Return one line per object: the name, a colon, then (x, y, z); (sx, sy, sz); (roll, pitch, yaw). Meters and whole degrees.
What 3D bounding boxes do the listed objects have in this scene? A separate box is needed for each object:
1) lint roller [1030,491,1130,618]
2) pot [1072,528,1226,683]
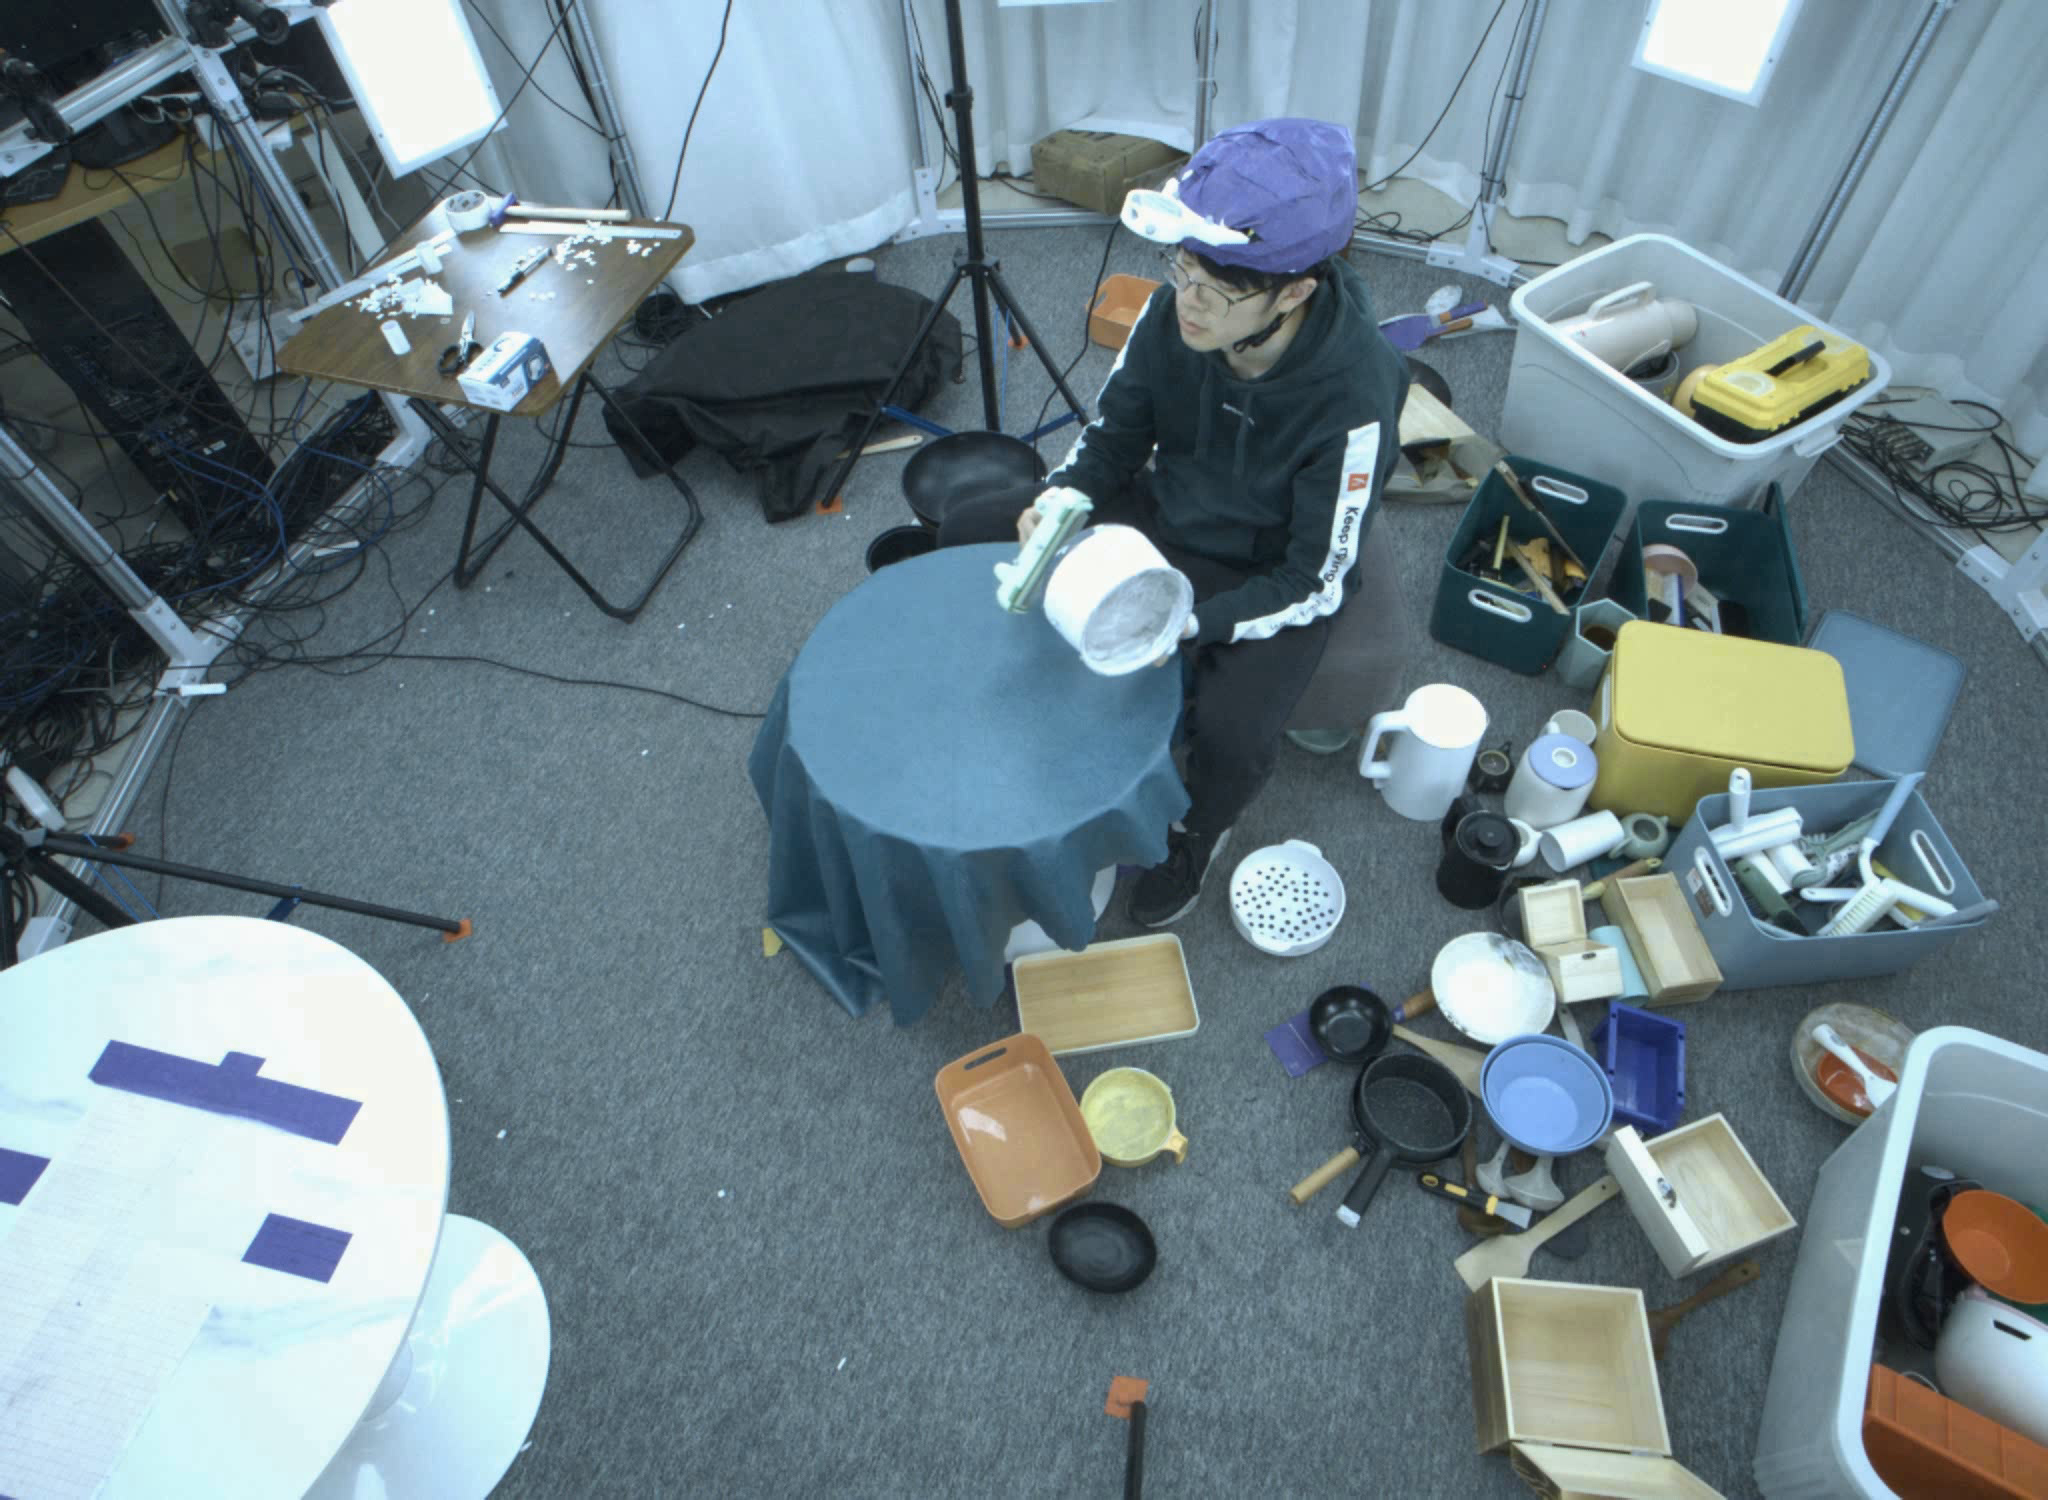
lint roller: (0.074, -0.309, 1.812); (0.083, 0.198, 0.181); (27, 25, -16)
pot: (0.180, -0.190, 1.682); (0.178, 0.239, 0.134); (-44, 53, 13)
